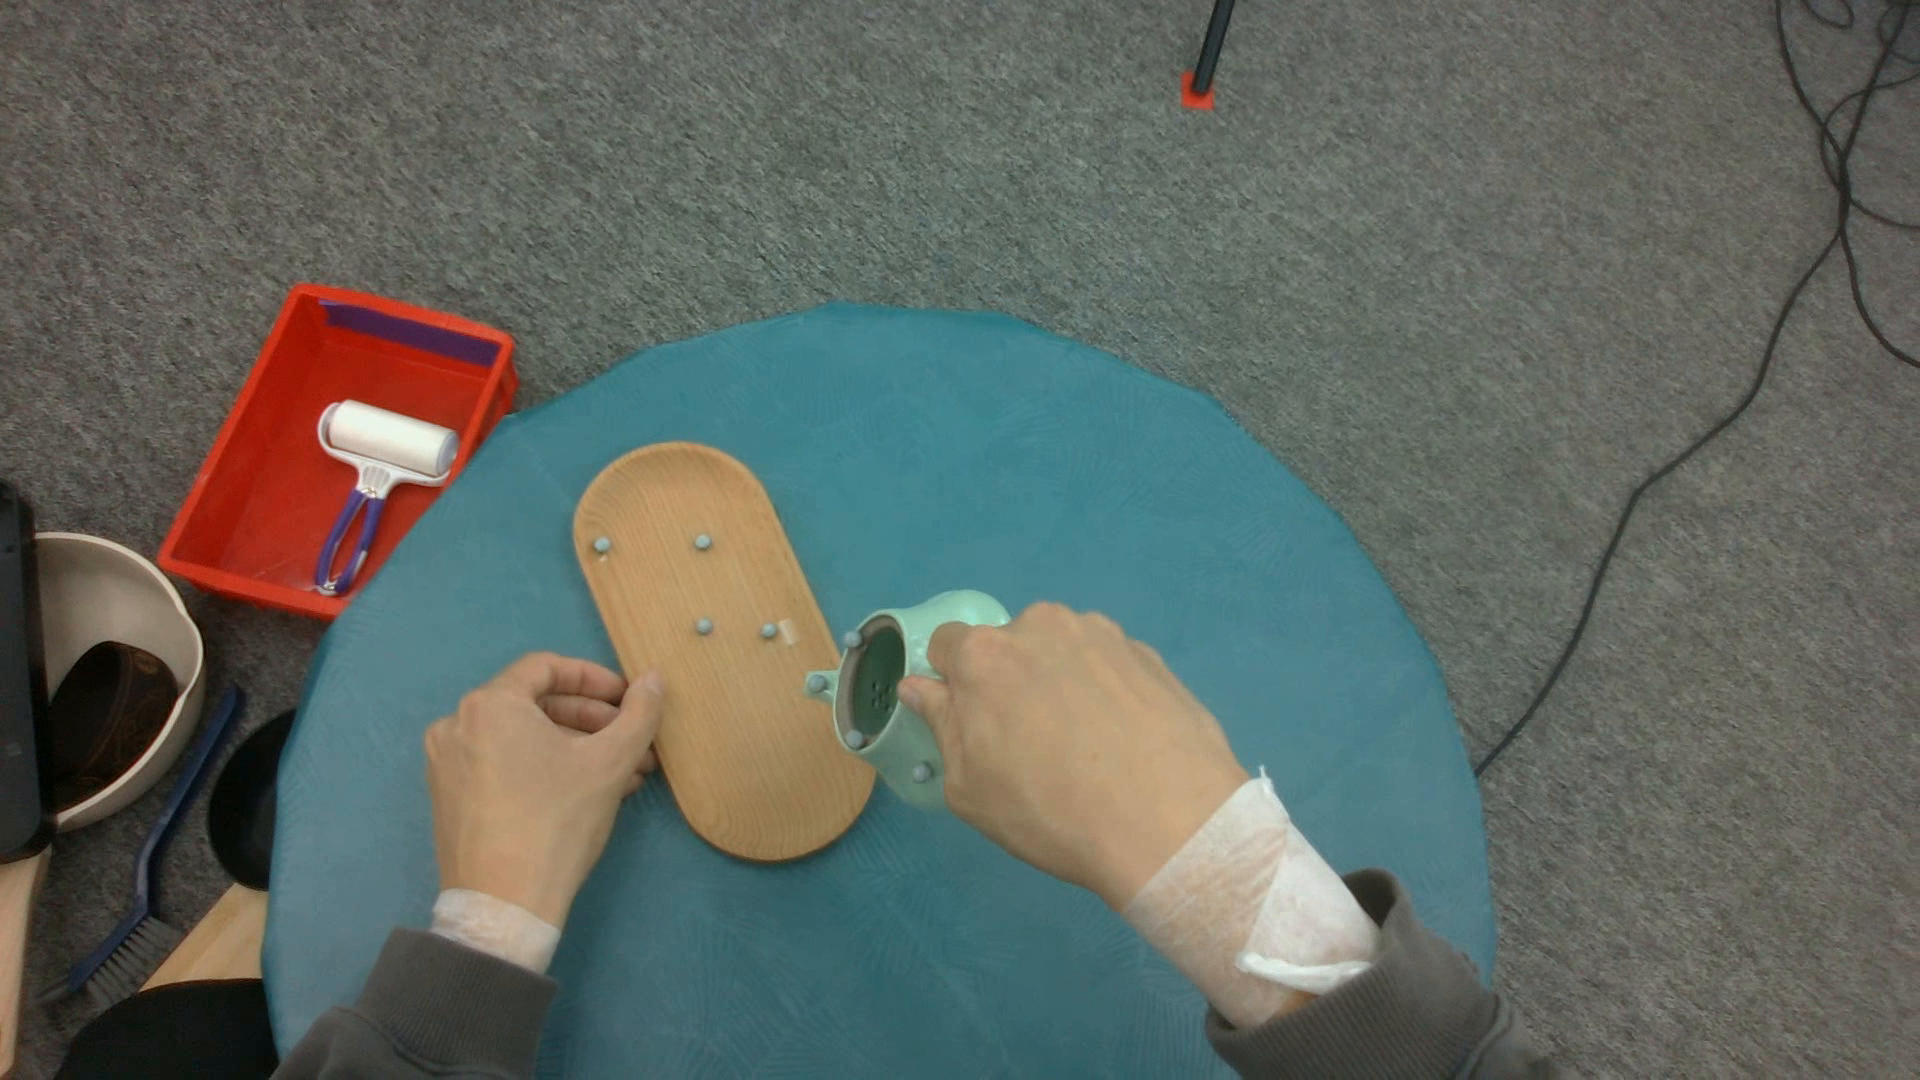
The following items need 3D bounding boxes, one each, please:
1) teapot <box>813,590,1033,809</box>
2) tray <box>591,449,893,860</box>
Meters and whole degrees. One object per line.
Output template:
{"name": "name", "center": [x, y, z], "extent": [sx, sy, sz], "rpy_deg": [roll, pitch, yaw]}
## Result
{"name": "teapot", "center": [-0.009, 0.065, 0.593], "extent": [0.061, 0.136, 0.096], "rpy_deg": [19, 72, -28]}
{"name": "tray", "center": [-0.114, 0.054, 0.709], "extent": [0.102, 0.020, 0.231], "rpy_deg": [-22, 72, -17]}
